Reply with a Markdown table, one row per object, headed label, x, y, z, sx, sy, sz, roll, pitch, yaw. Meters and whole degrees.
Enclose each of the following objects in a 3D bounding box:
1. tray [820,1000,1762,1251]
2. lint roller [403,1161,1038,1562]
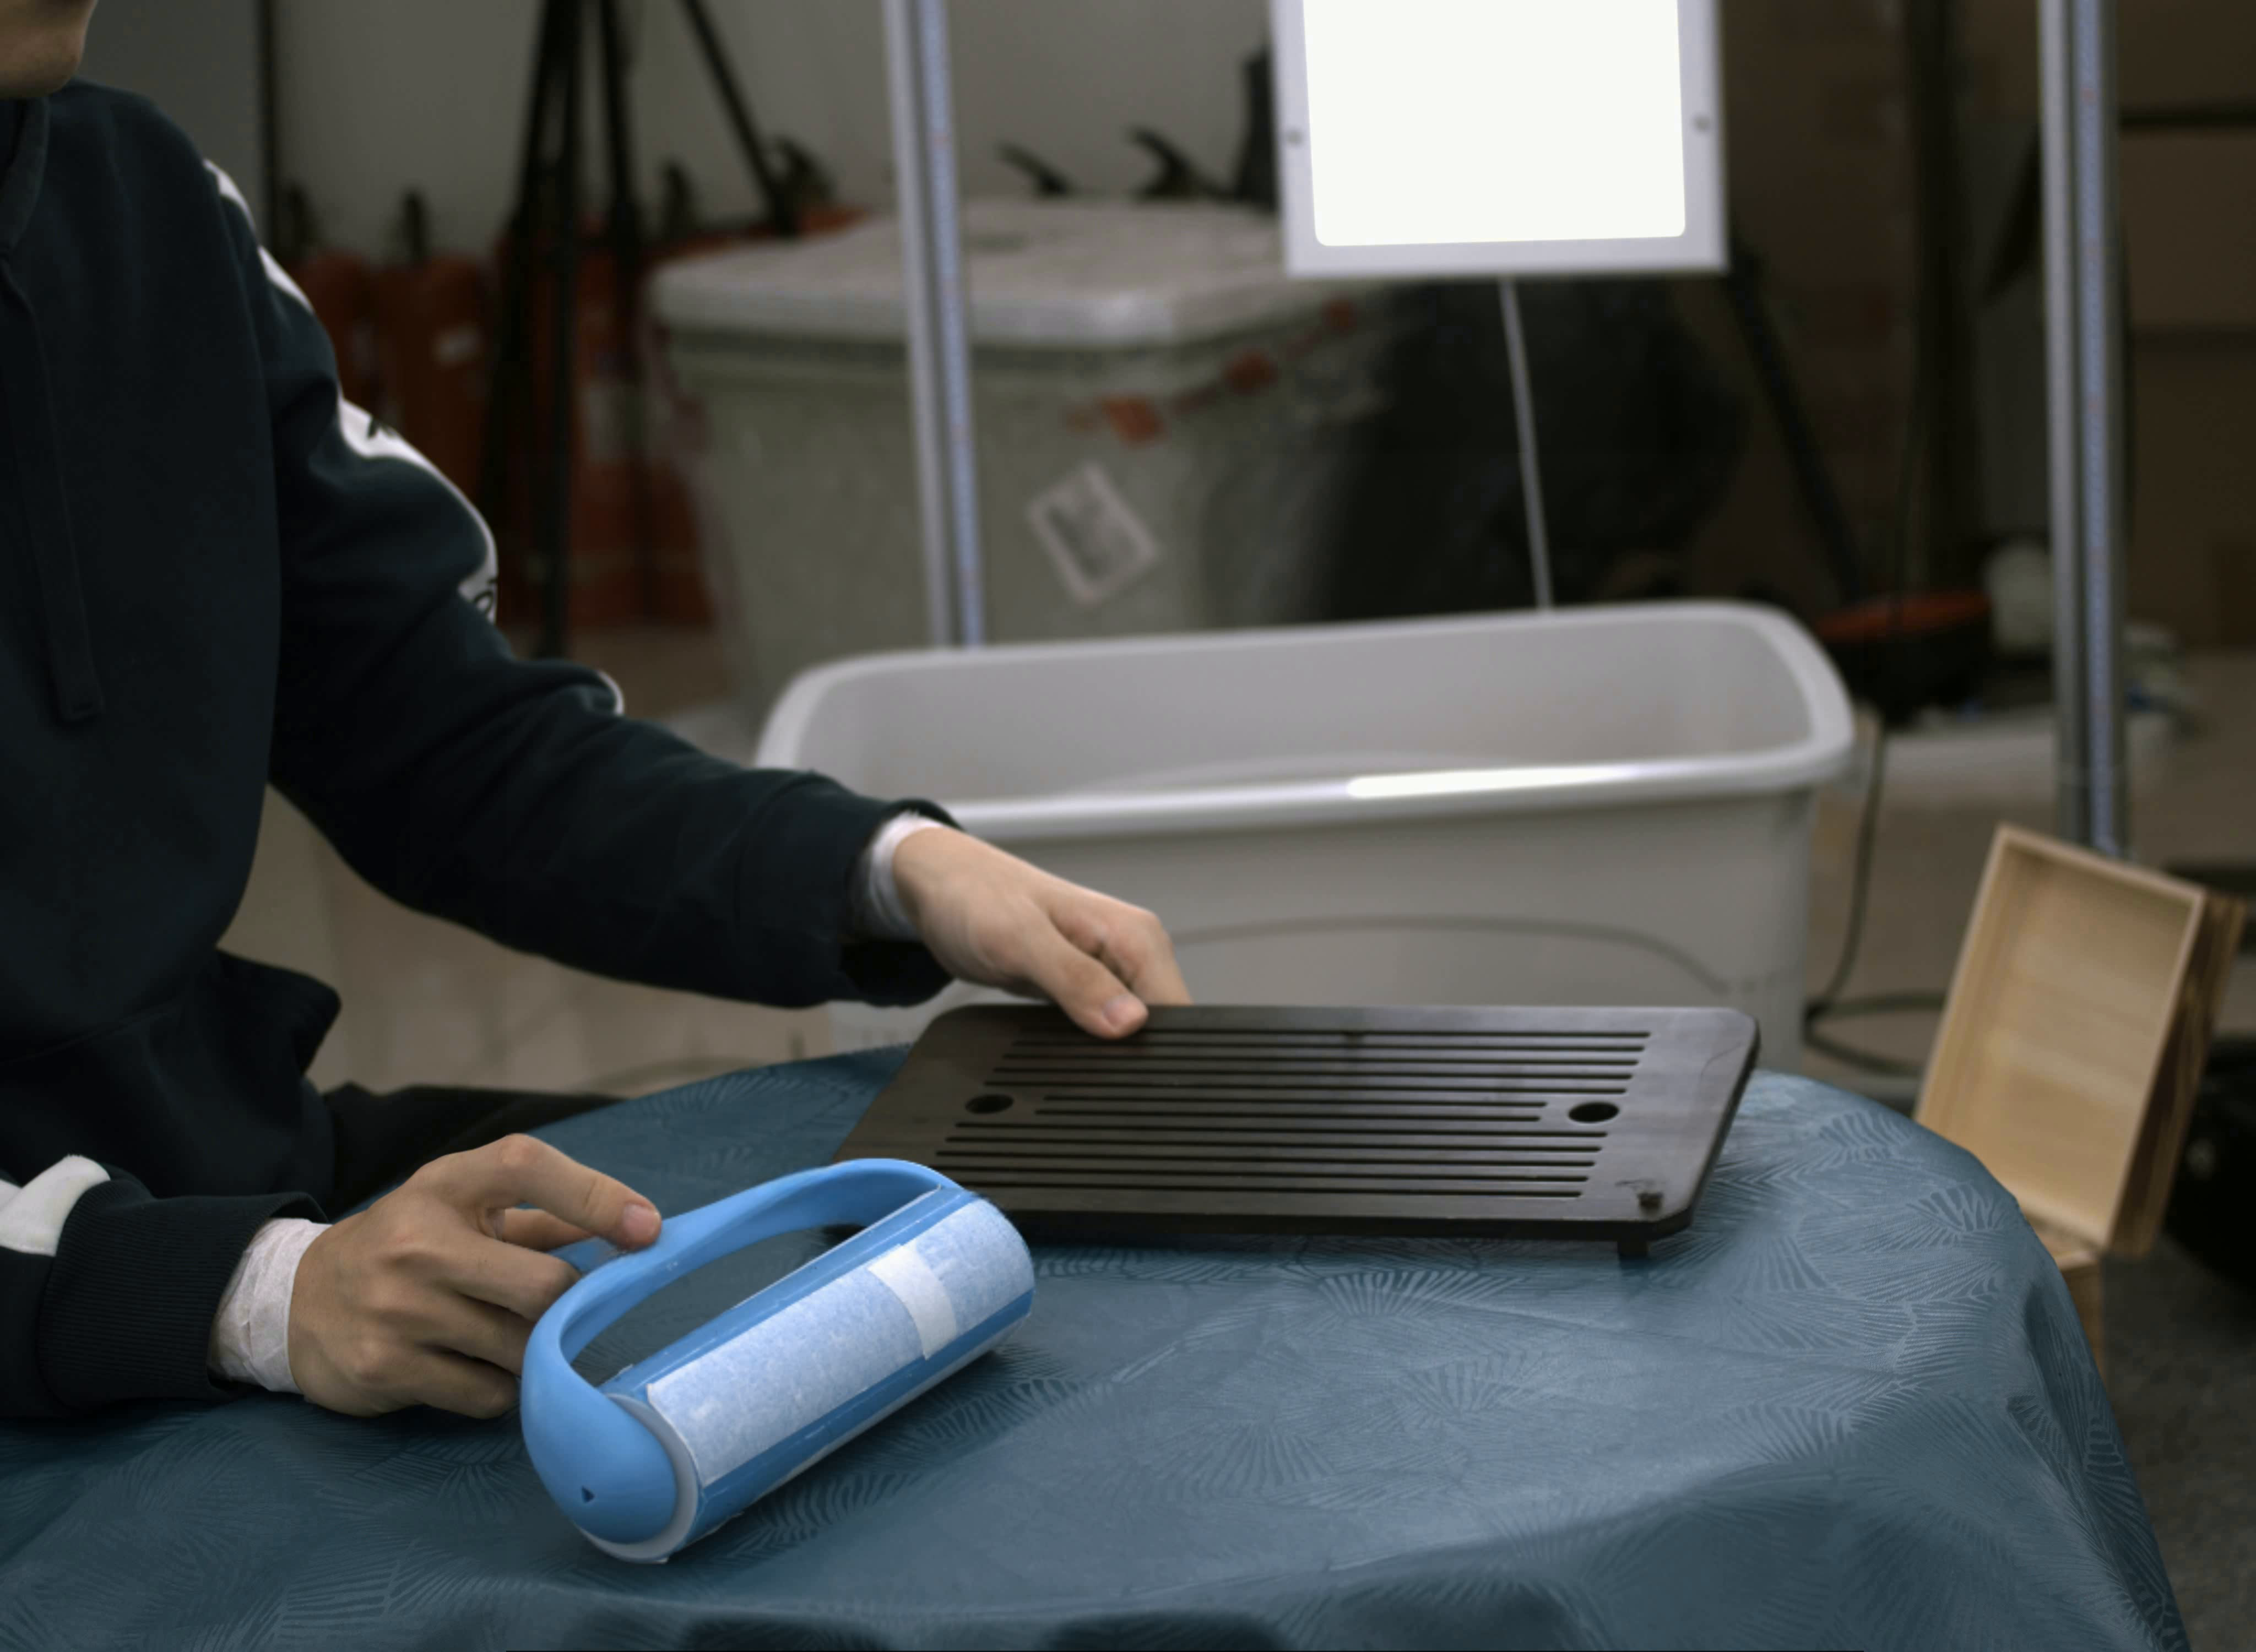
| label | x | y | z | sx | sy | sz | roll | pitch | yaw |
| --- | --- | --- | --- | --- | --- | --- | --- | --- | --- |
| tray | 0.057 | 0.102 | 1.891 | 0.309 | 0.018 | 0.167 | -1 | 23 | 18 |
| lint roller | -0.150 | 0.157 | 1.695 | 0.183 | 0.068 | 0.224 | 5 | 19 | 28 |
